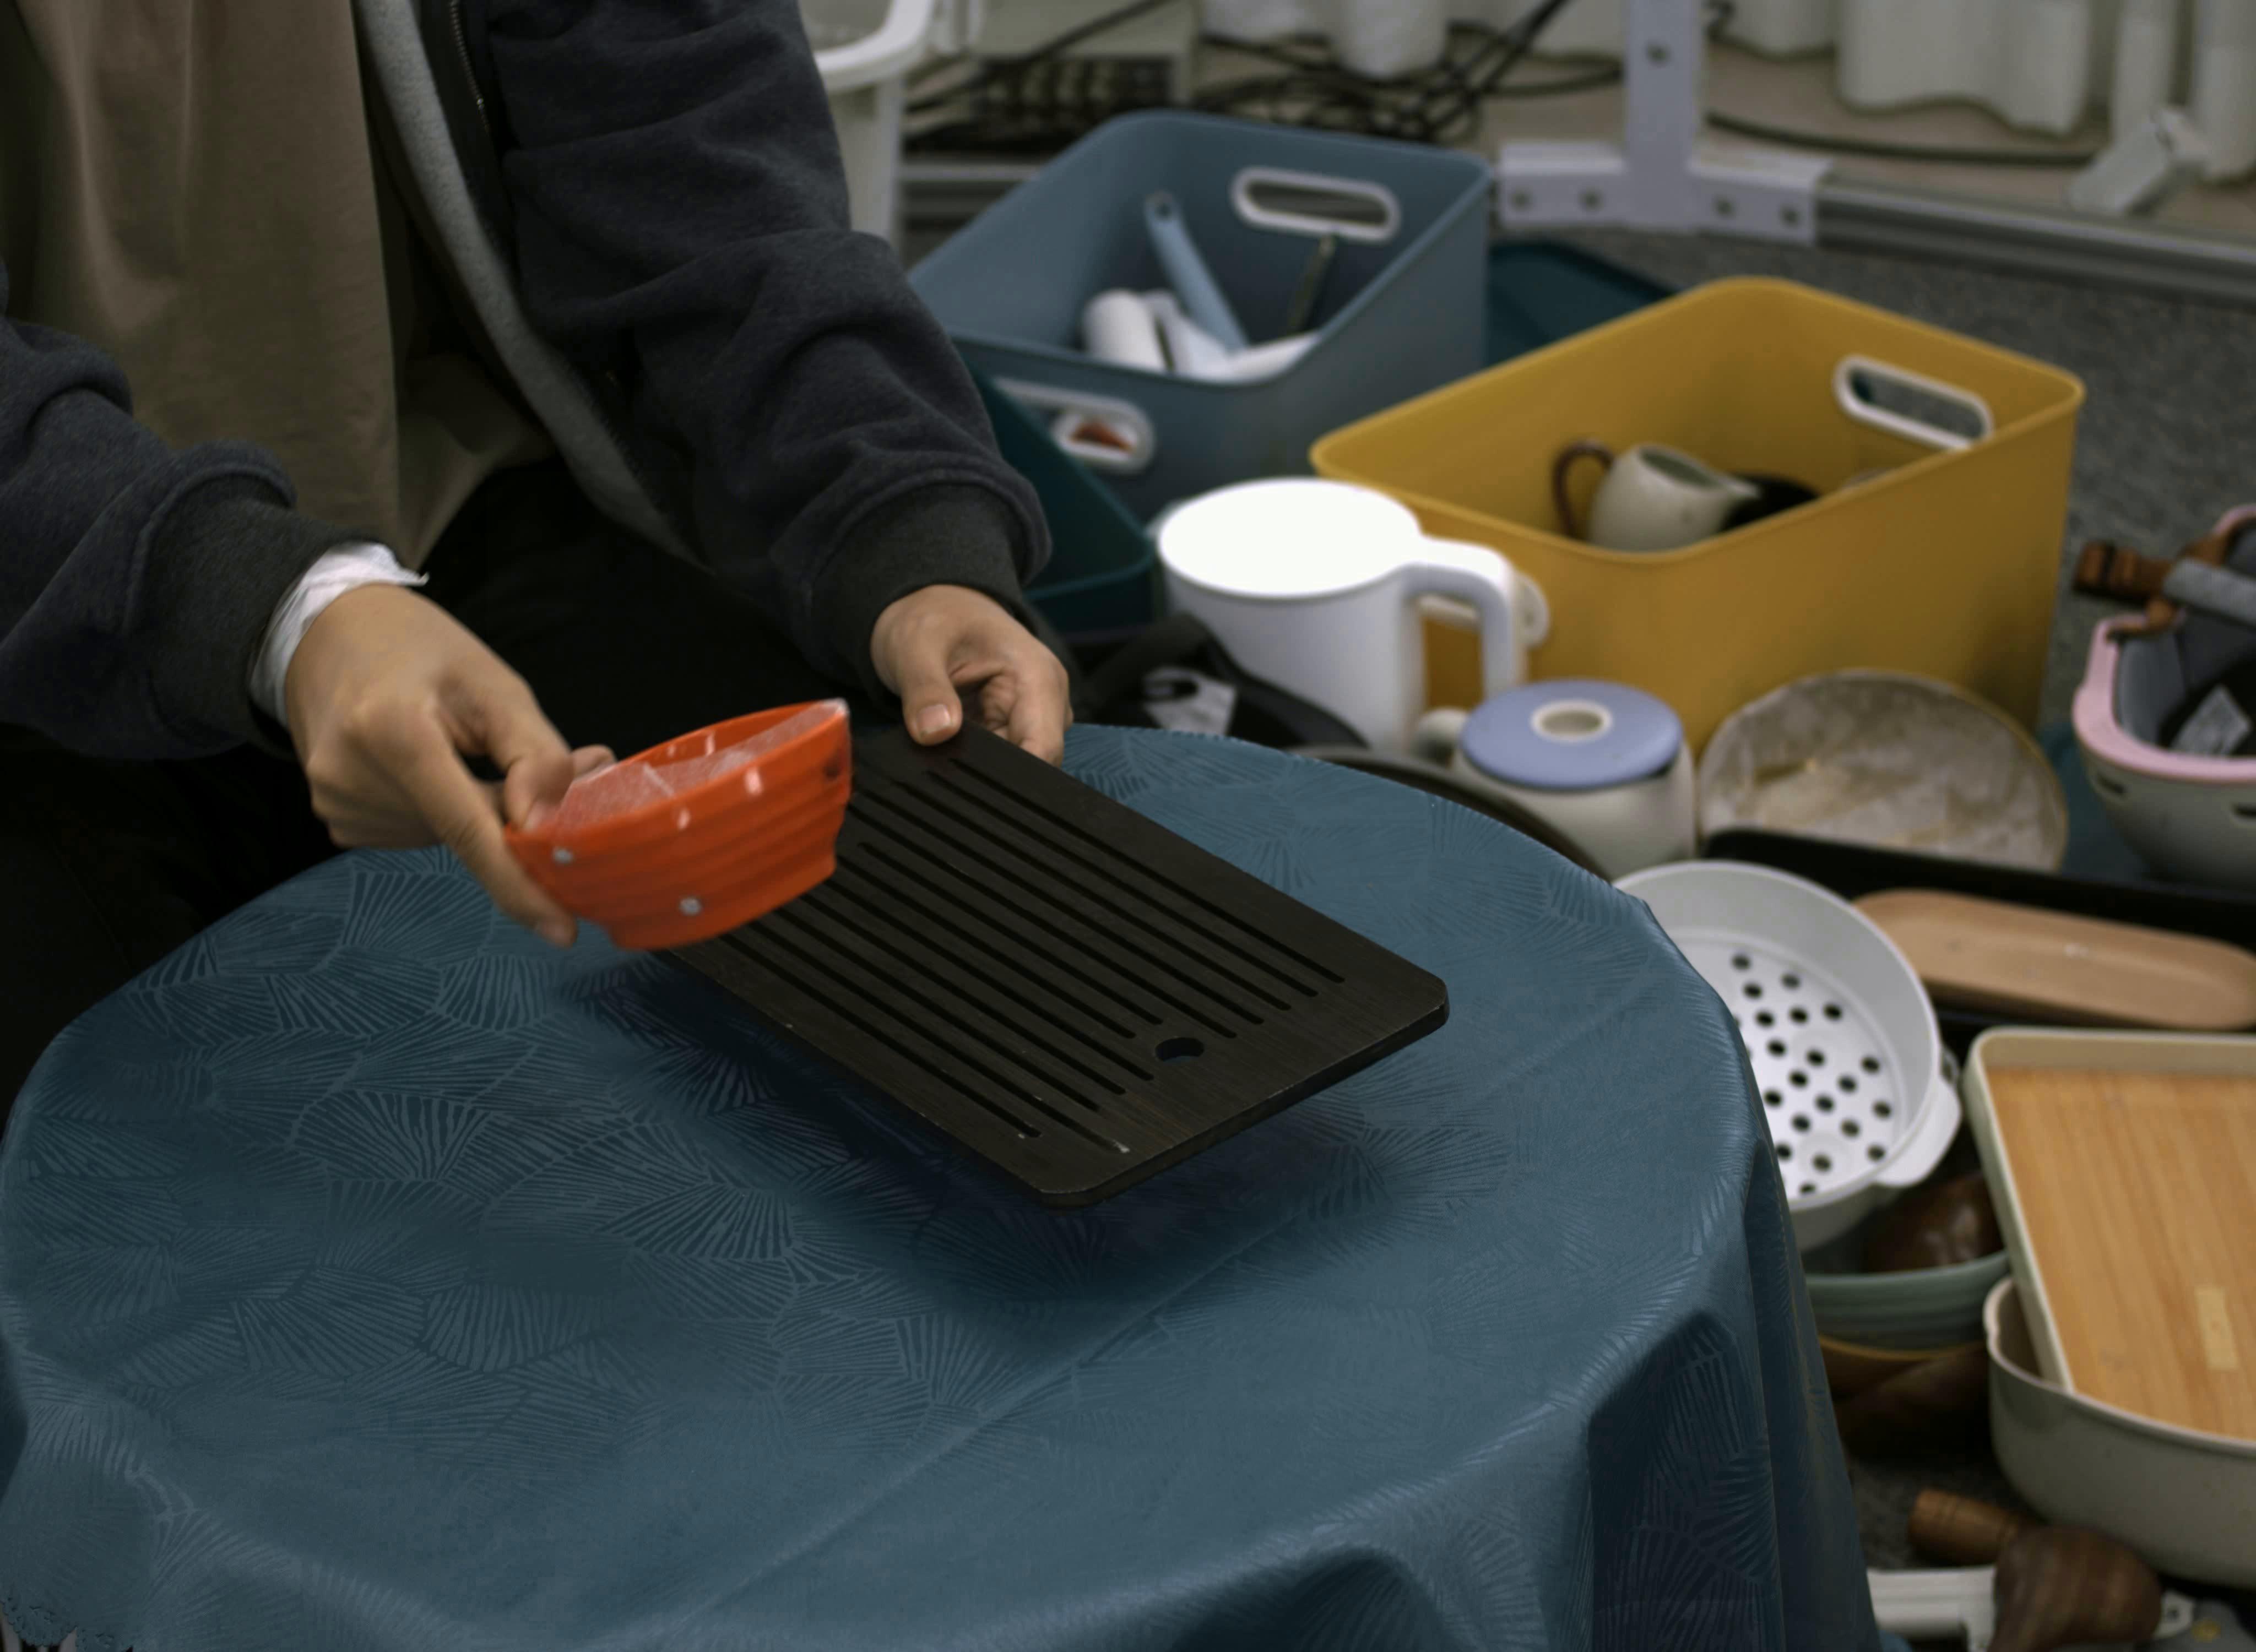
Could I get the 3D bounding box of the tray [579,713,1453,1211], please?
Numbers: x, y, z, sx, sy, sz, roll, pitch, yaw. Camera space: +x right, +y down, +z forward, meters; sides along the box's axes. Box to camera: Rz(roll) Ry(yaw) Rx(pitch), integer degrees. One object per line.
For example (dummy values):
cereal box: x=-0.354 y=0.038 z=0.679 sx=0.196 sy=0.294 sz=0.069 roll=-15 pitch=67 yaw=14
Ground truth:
tray: x=-0.043 y=0.043 z=1.932 sx=0.172 sy=0.018 sz=0.306 roll=-25 pitch=33 yaw=-29

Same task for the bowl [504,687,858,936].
bowl: x=-0.137 y=-0.001 z=1.805 sx=0.118 sy=0.051 sz=0.119 roll=-19 pitch=9 yaw=3
